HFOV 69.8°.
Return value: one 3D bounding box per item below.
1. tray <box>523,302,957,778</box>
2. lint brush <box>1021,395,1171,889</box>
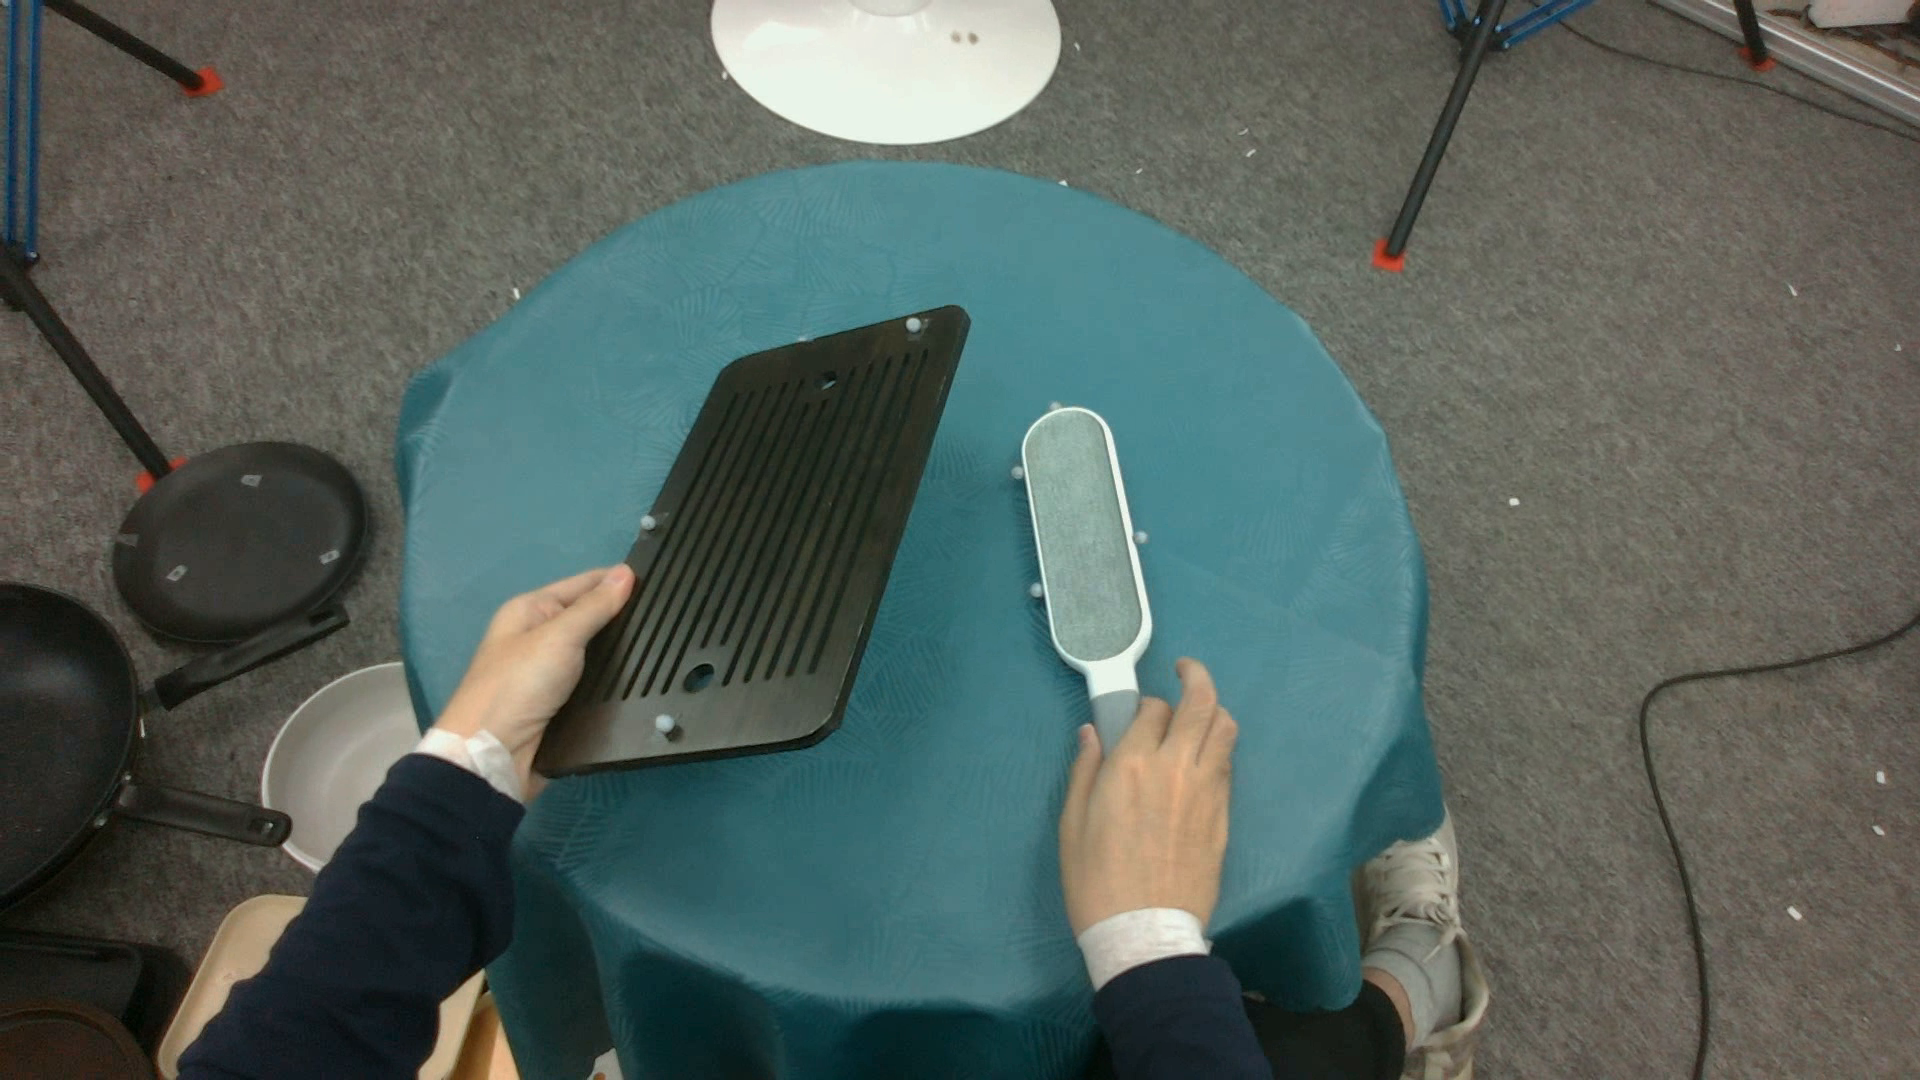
[{"bbox_3d":[-0.101,-0.010,0.710,0.169,0.018,0.307,-12,41,25],"label":"tray"},{"bbox_3d":[0.076,0.042,0.760,0.060,0.021,0.310,-7,56,1],"label":"lint brush"}]
